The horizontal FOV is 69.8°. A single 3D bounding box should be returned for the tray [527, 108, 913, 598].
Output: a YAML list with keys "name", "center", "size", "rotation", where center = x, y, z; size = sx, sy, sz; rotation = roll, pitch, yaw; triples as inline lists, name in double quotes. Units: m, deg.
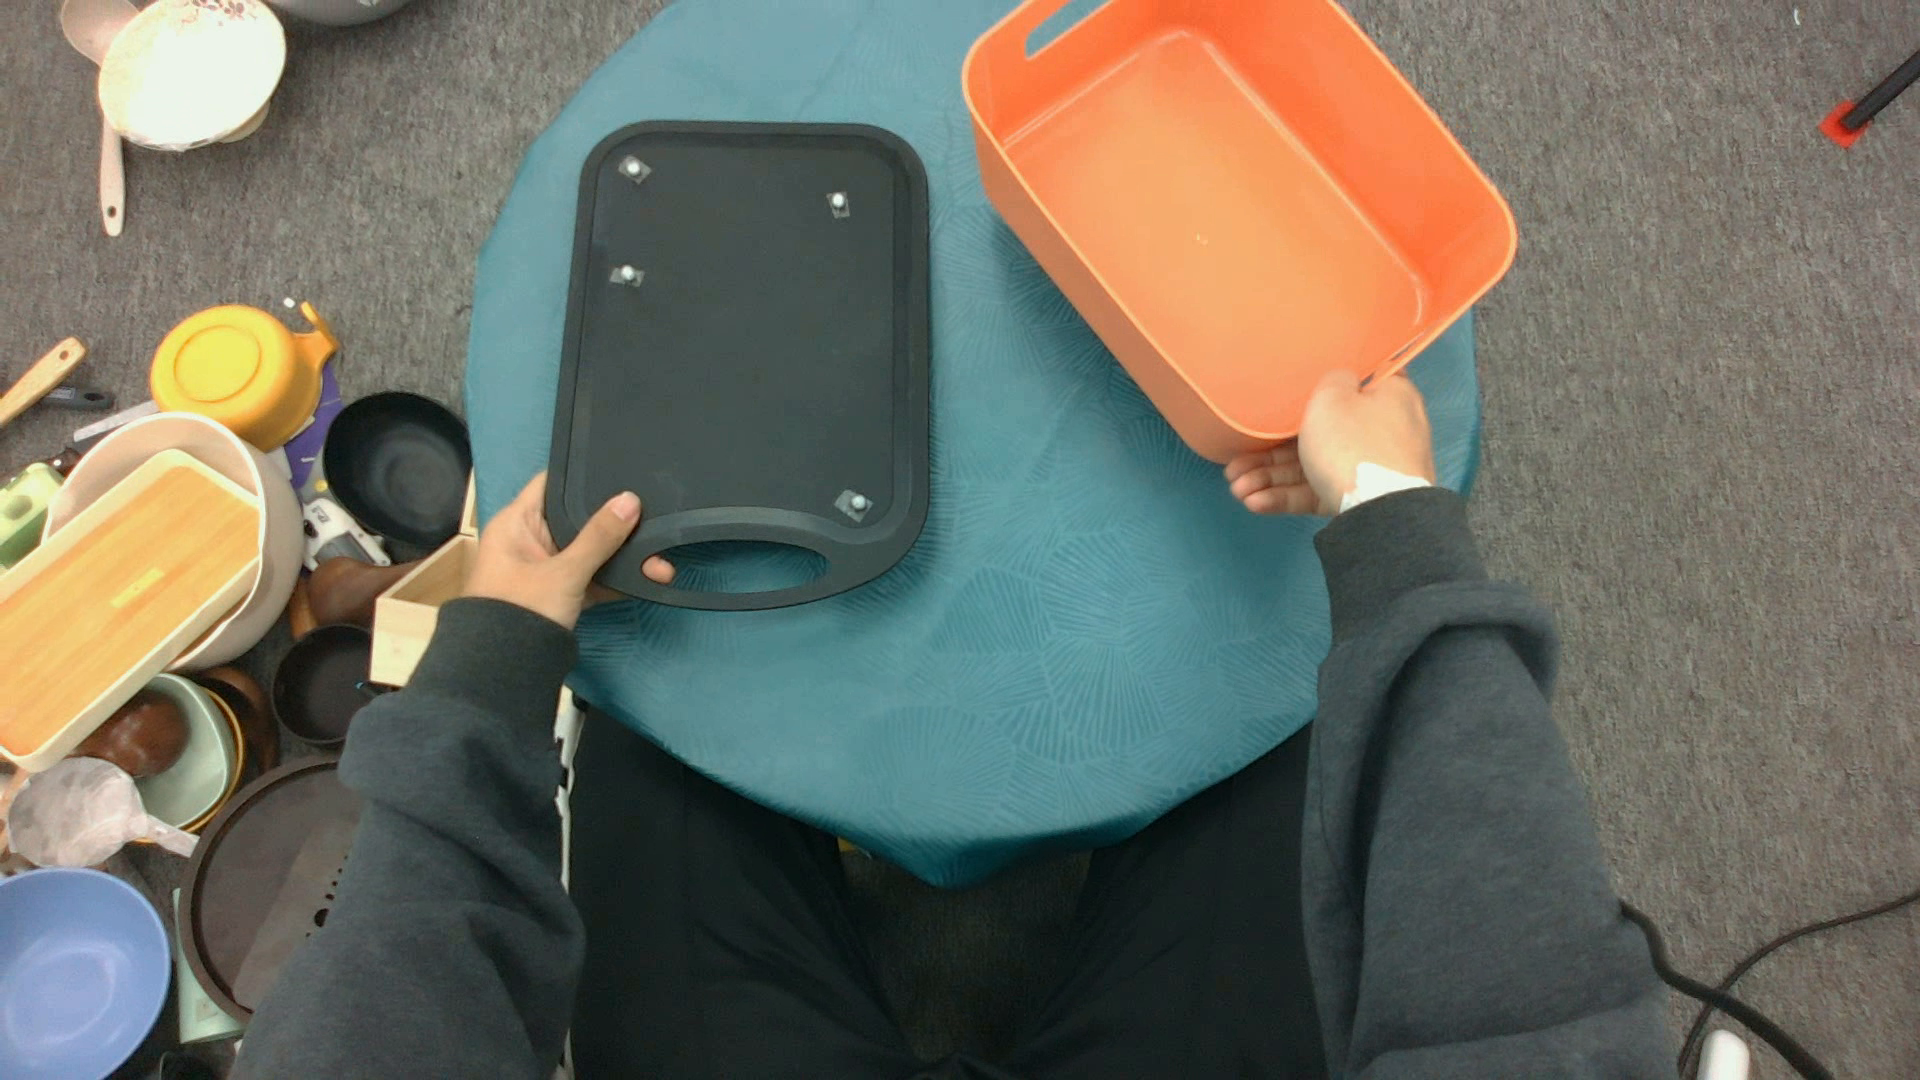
- name: "tray"
  center: [-0.133, -0.120, 0.791]
  size: [0.211, 0.010, 0.326]
  rotation: [-1, 66, -3]

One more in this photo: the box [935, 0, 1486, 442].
- name: "box"
  center: [0.127, -0.197, 0.761]
  size: [0.200, 0.102, 0.273]
  rotation: [-36, 79, -9]
